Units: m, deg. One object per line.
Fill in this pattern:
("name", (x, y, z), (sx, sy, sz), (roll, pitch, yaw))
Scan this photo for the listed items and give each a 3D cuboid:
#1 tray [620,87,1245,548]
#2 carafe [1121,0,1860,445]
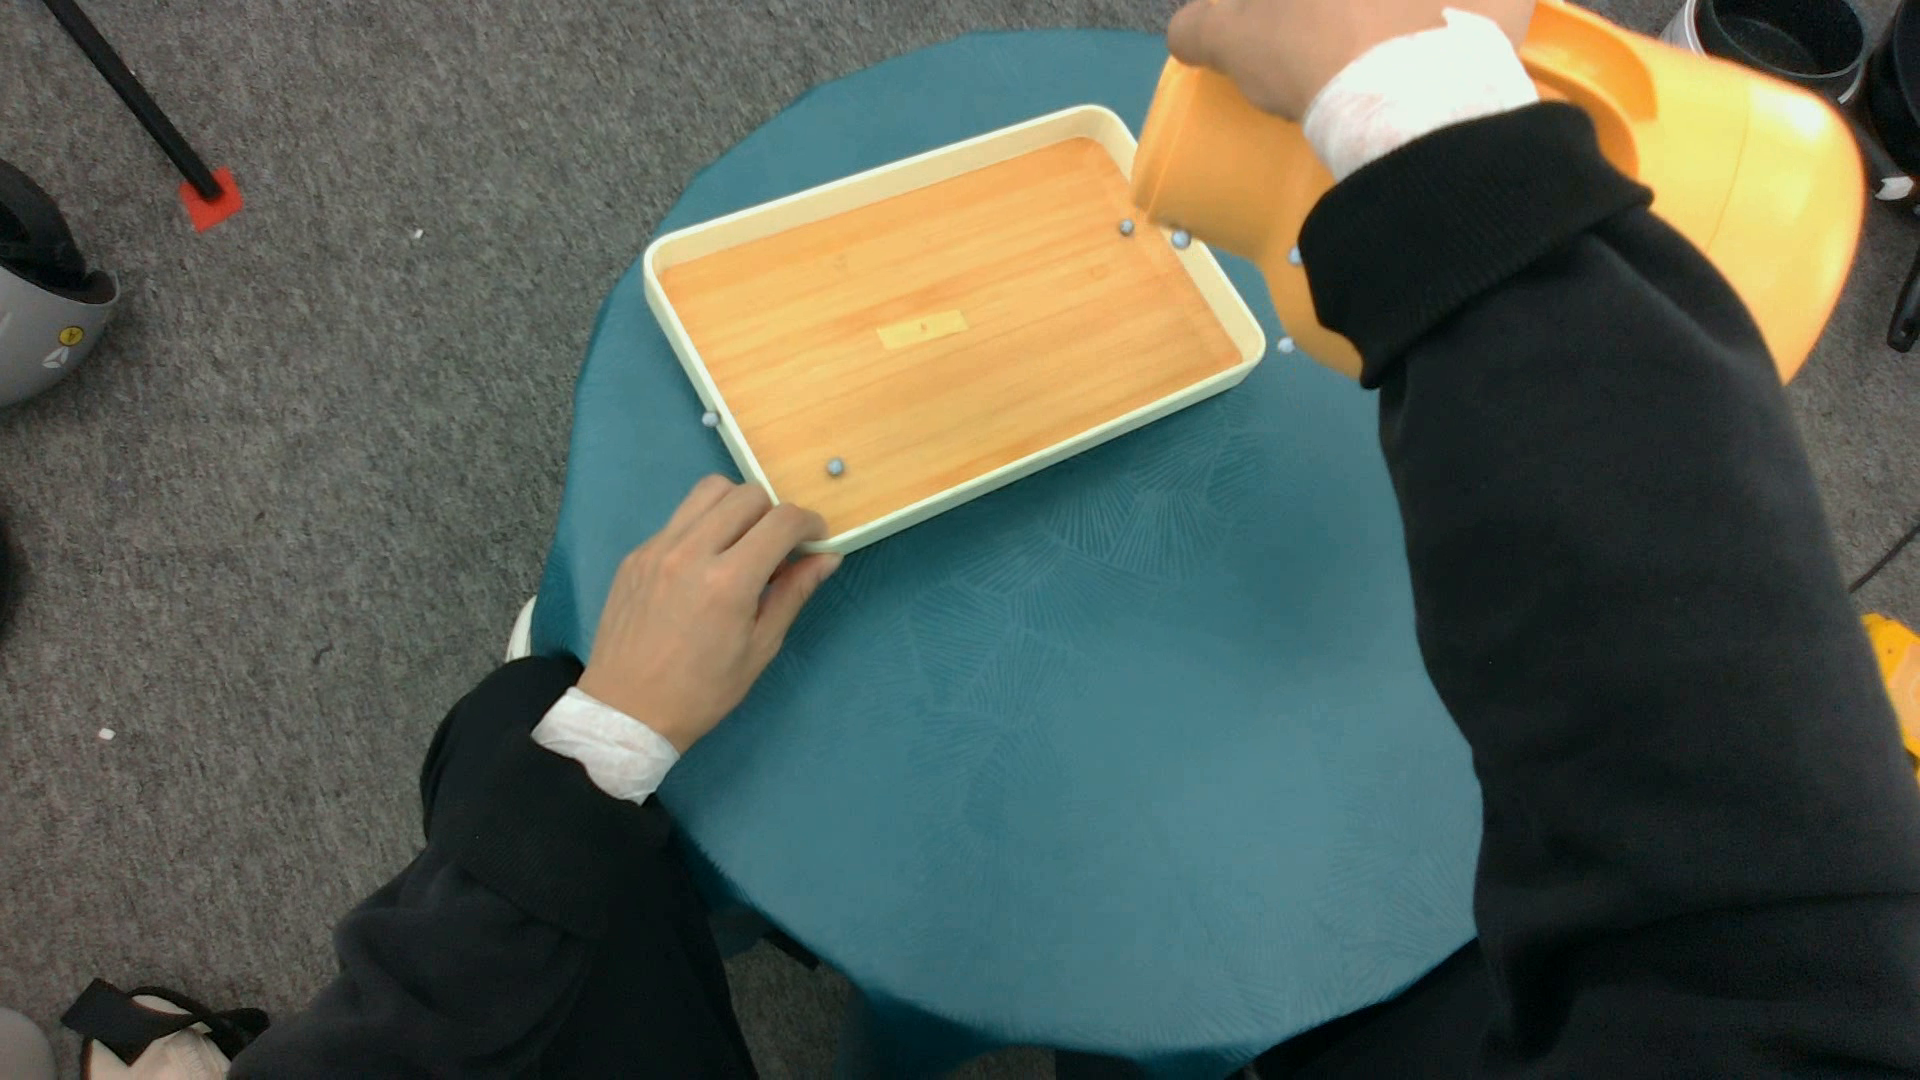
("tray", (-0.009, -0.130, 0.741), (0.301, 0.027, 0.192), (-25, 74, -23))
("carafe", (0.195, -0.150, 0.534), (0.260, 0.202, 0.163), (20, 85, 5))
